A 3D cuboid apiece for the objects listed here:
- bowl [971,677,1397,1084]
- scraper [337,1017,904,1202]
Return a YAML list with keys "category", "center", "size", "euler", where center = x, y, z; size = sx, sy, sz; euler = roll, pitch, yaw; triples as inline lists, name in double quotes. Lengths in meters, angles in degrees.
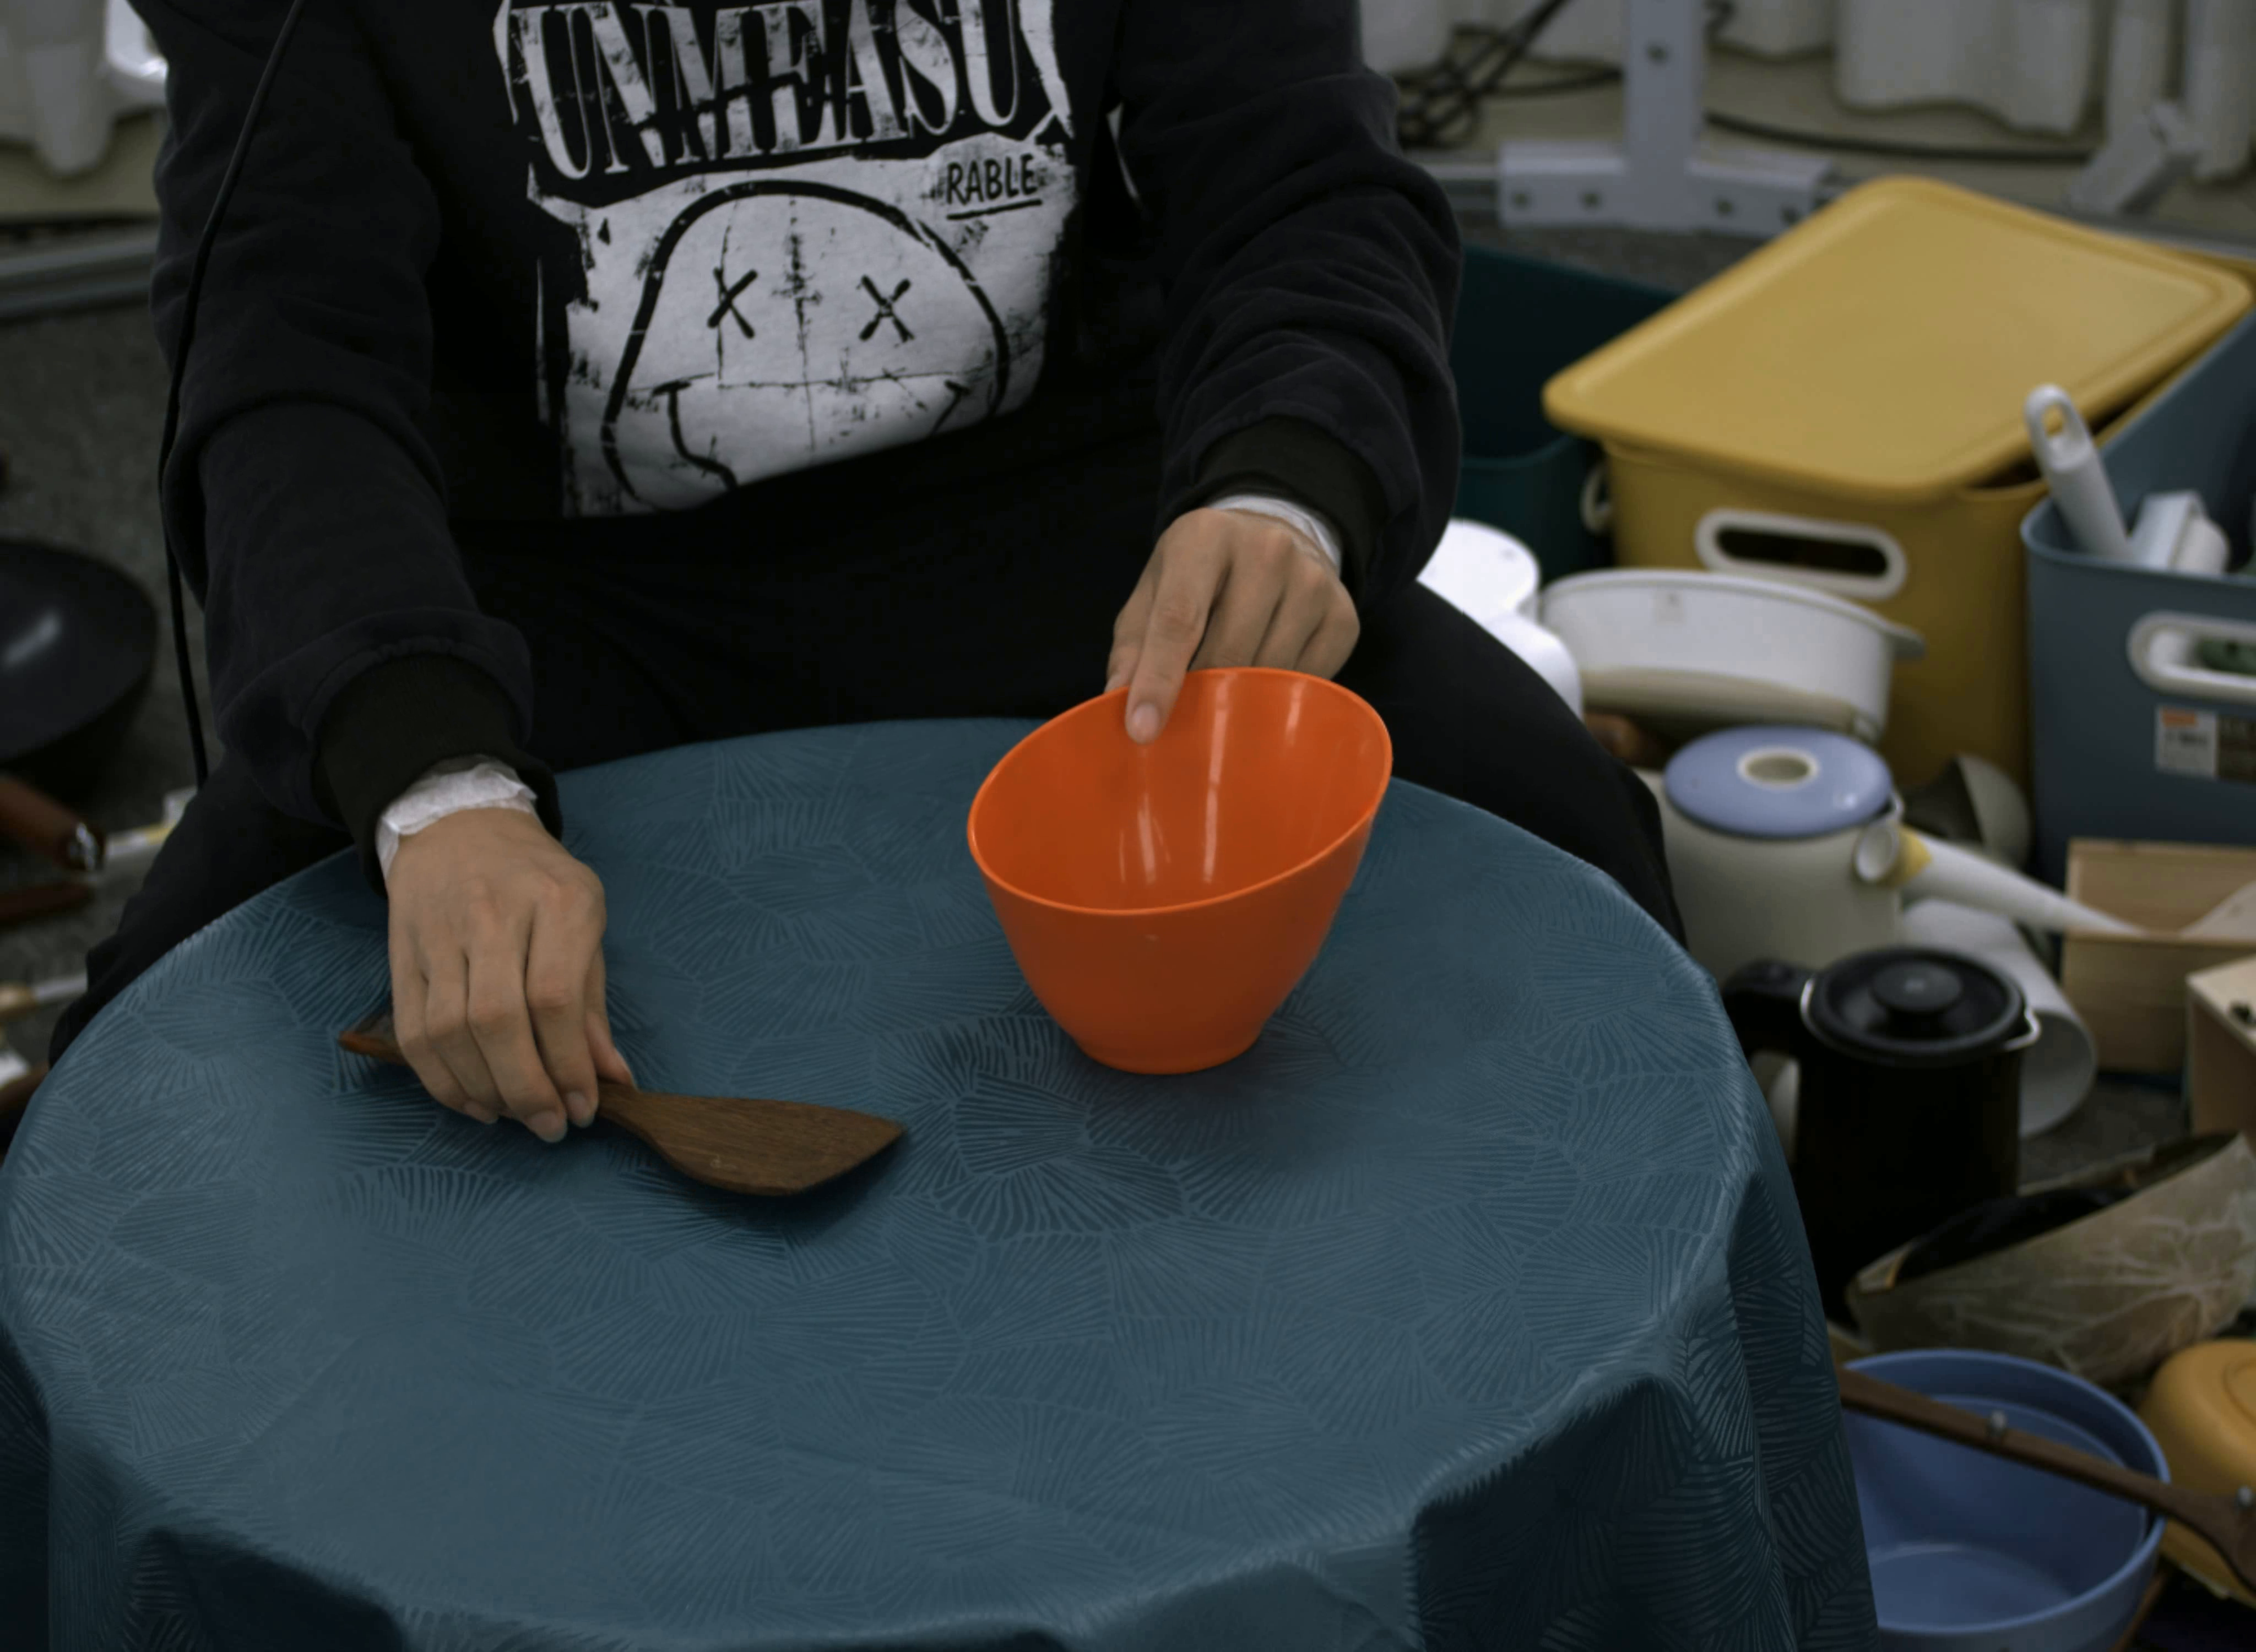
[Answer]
- category: "bowl"
  center: [0.021, 0.025, 1.939]
  size: [0.147, 0.103, 0.150]
  euler: [-2, 27, 2]
- category: "scraper"
  center: [-0.178, 0.094, 1.910]
  size: [0.210, 0.011, 0.077]
  euler: [14, 22, 25]
